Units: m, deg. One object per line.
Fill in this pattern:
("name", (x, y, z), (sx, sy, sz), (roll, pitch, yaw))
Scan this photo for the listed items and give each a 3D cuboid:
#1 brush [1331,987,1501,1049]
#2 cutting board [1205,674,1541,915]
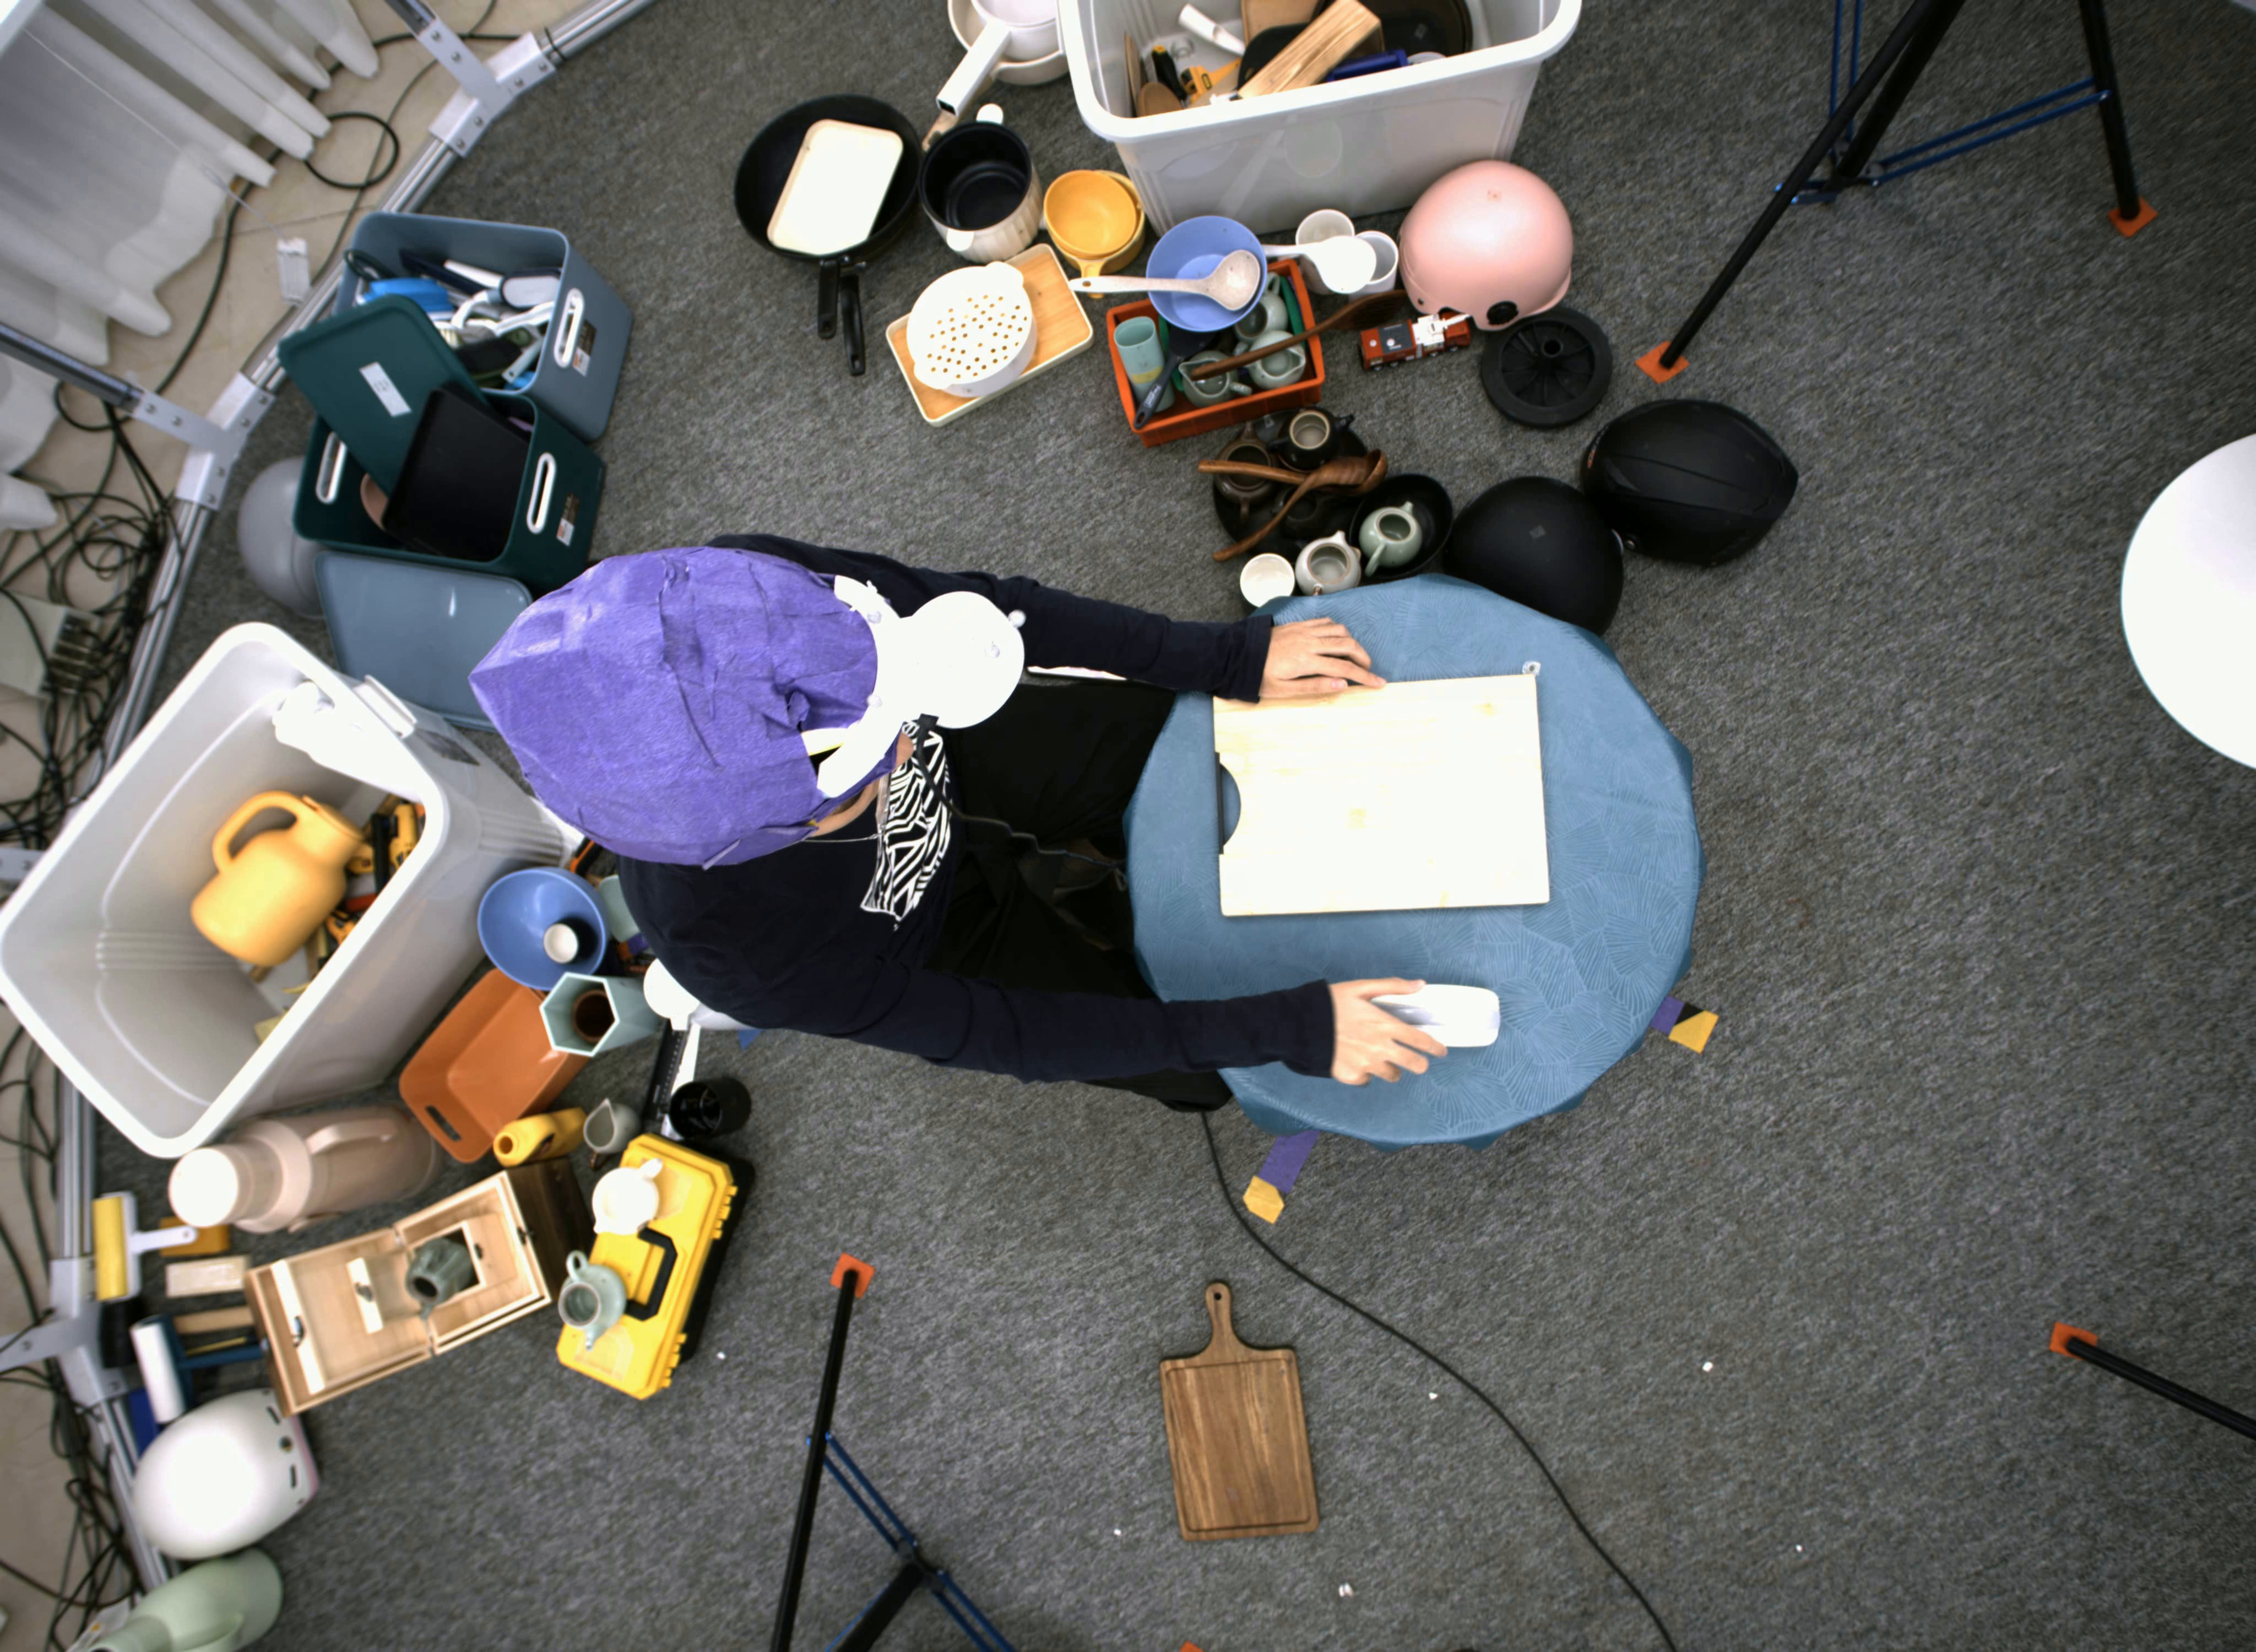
("brush", (0.291, 0.191, 1.402), (0.176, 0.094, 0.061), (2, 84, 13))
("cutting board", (0.258, -0.033, 1.458), (0.350, 0.023, 0.249), (-4, 86, 11))
